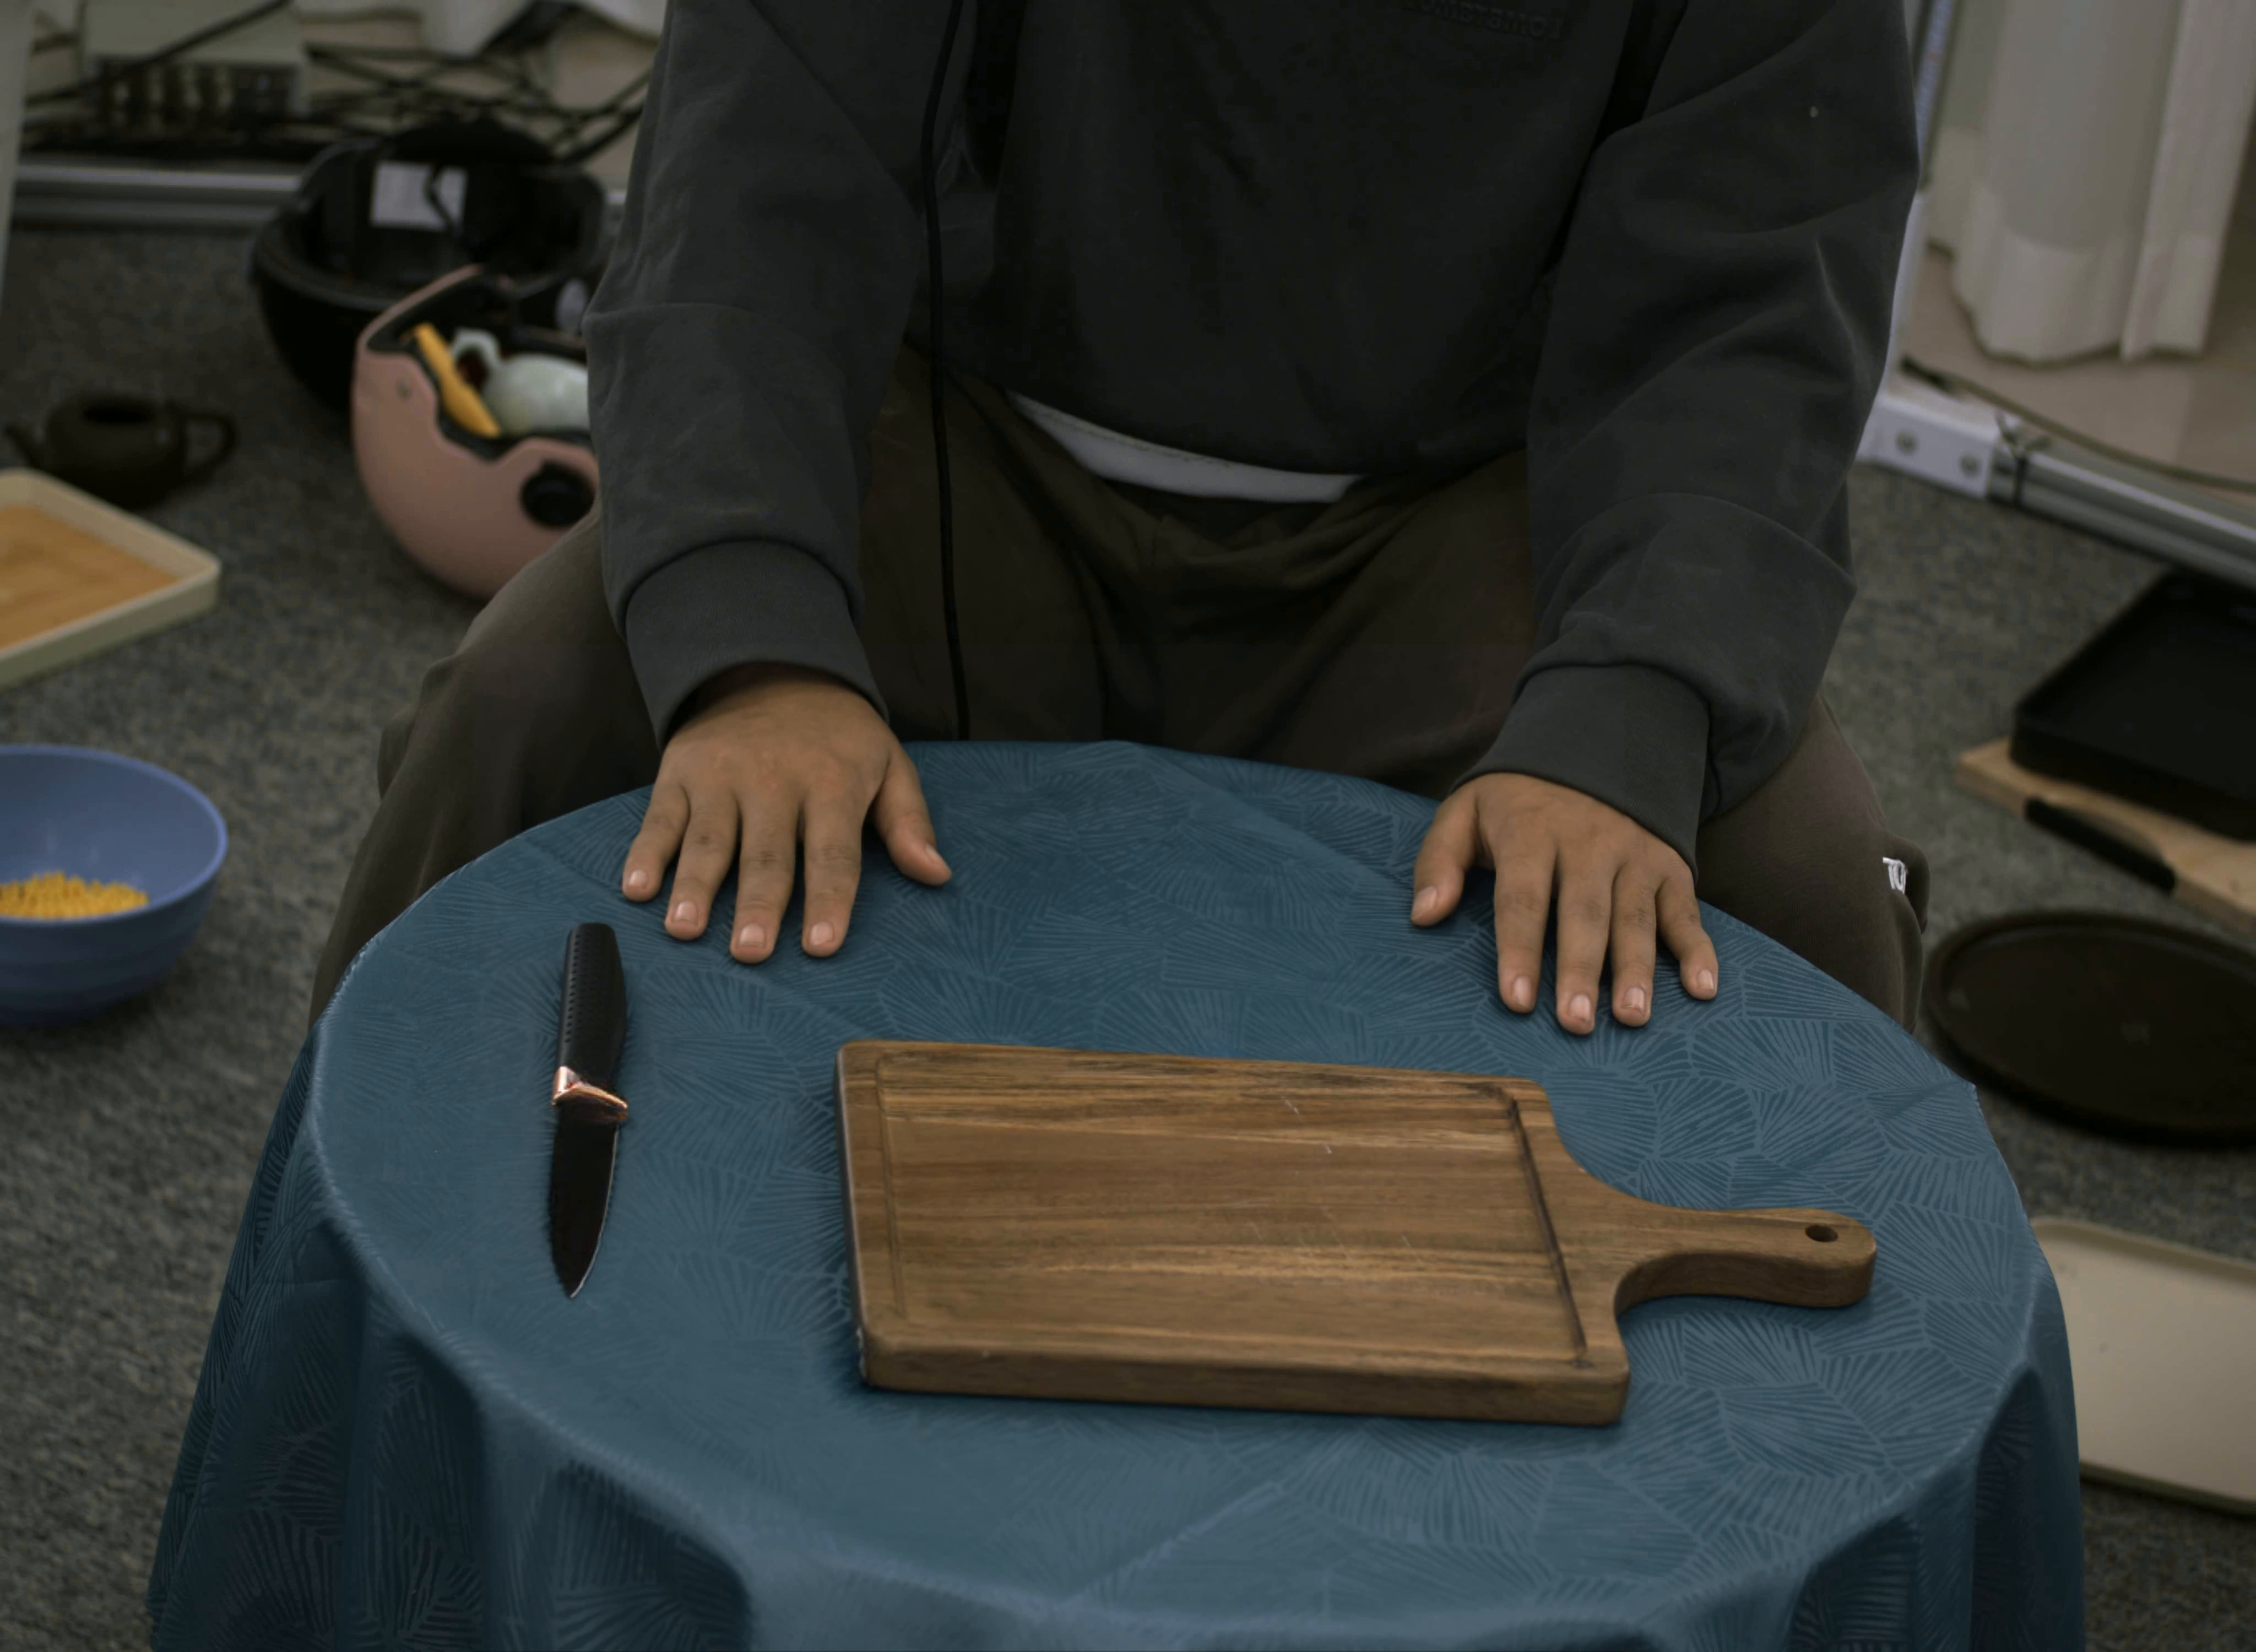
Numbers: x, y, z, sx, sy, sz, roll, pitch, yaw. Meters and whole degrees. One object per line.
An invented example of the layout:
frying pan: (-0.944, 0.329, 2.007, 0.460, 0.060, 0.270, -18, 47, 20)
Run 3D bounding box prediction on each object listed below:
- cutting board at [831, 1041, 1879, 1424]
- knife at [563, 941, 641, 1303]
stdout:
cutting board: (0.079, 0.136, 1.778, 0.350, 0.023, 0.202, 3, 27, -7)
knife: (-0.179, 0.098, 1.803, 0.026, 0.017, 0.227, 9, 27, -7)
